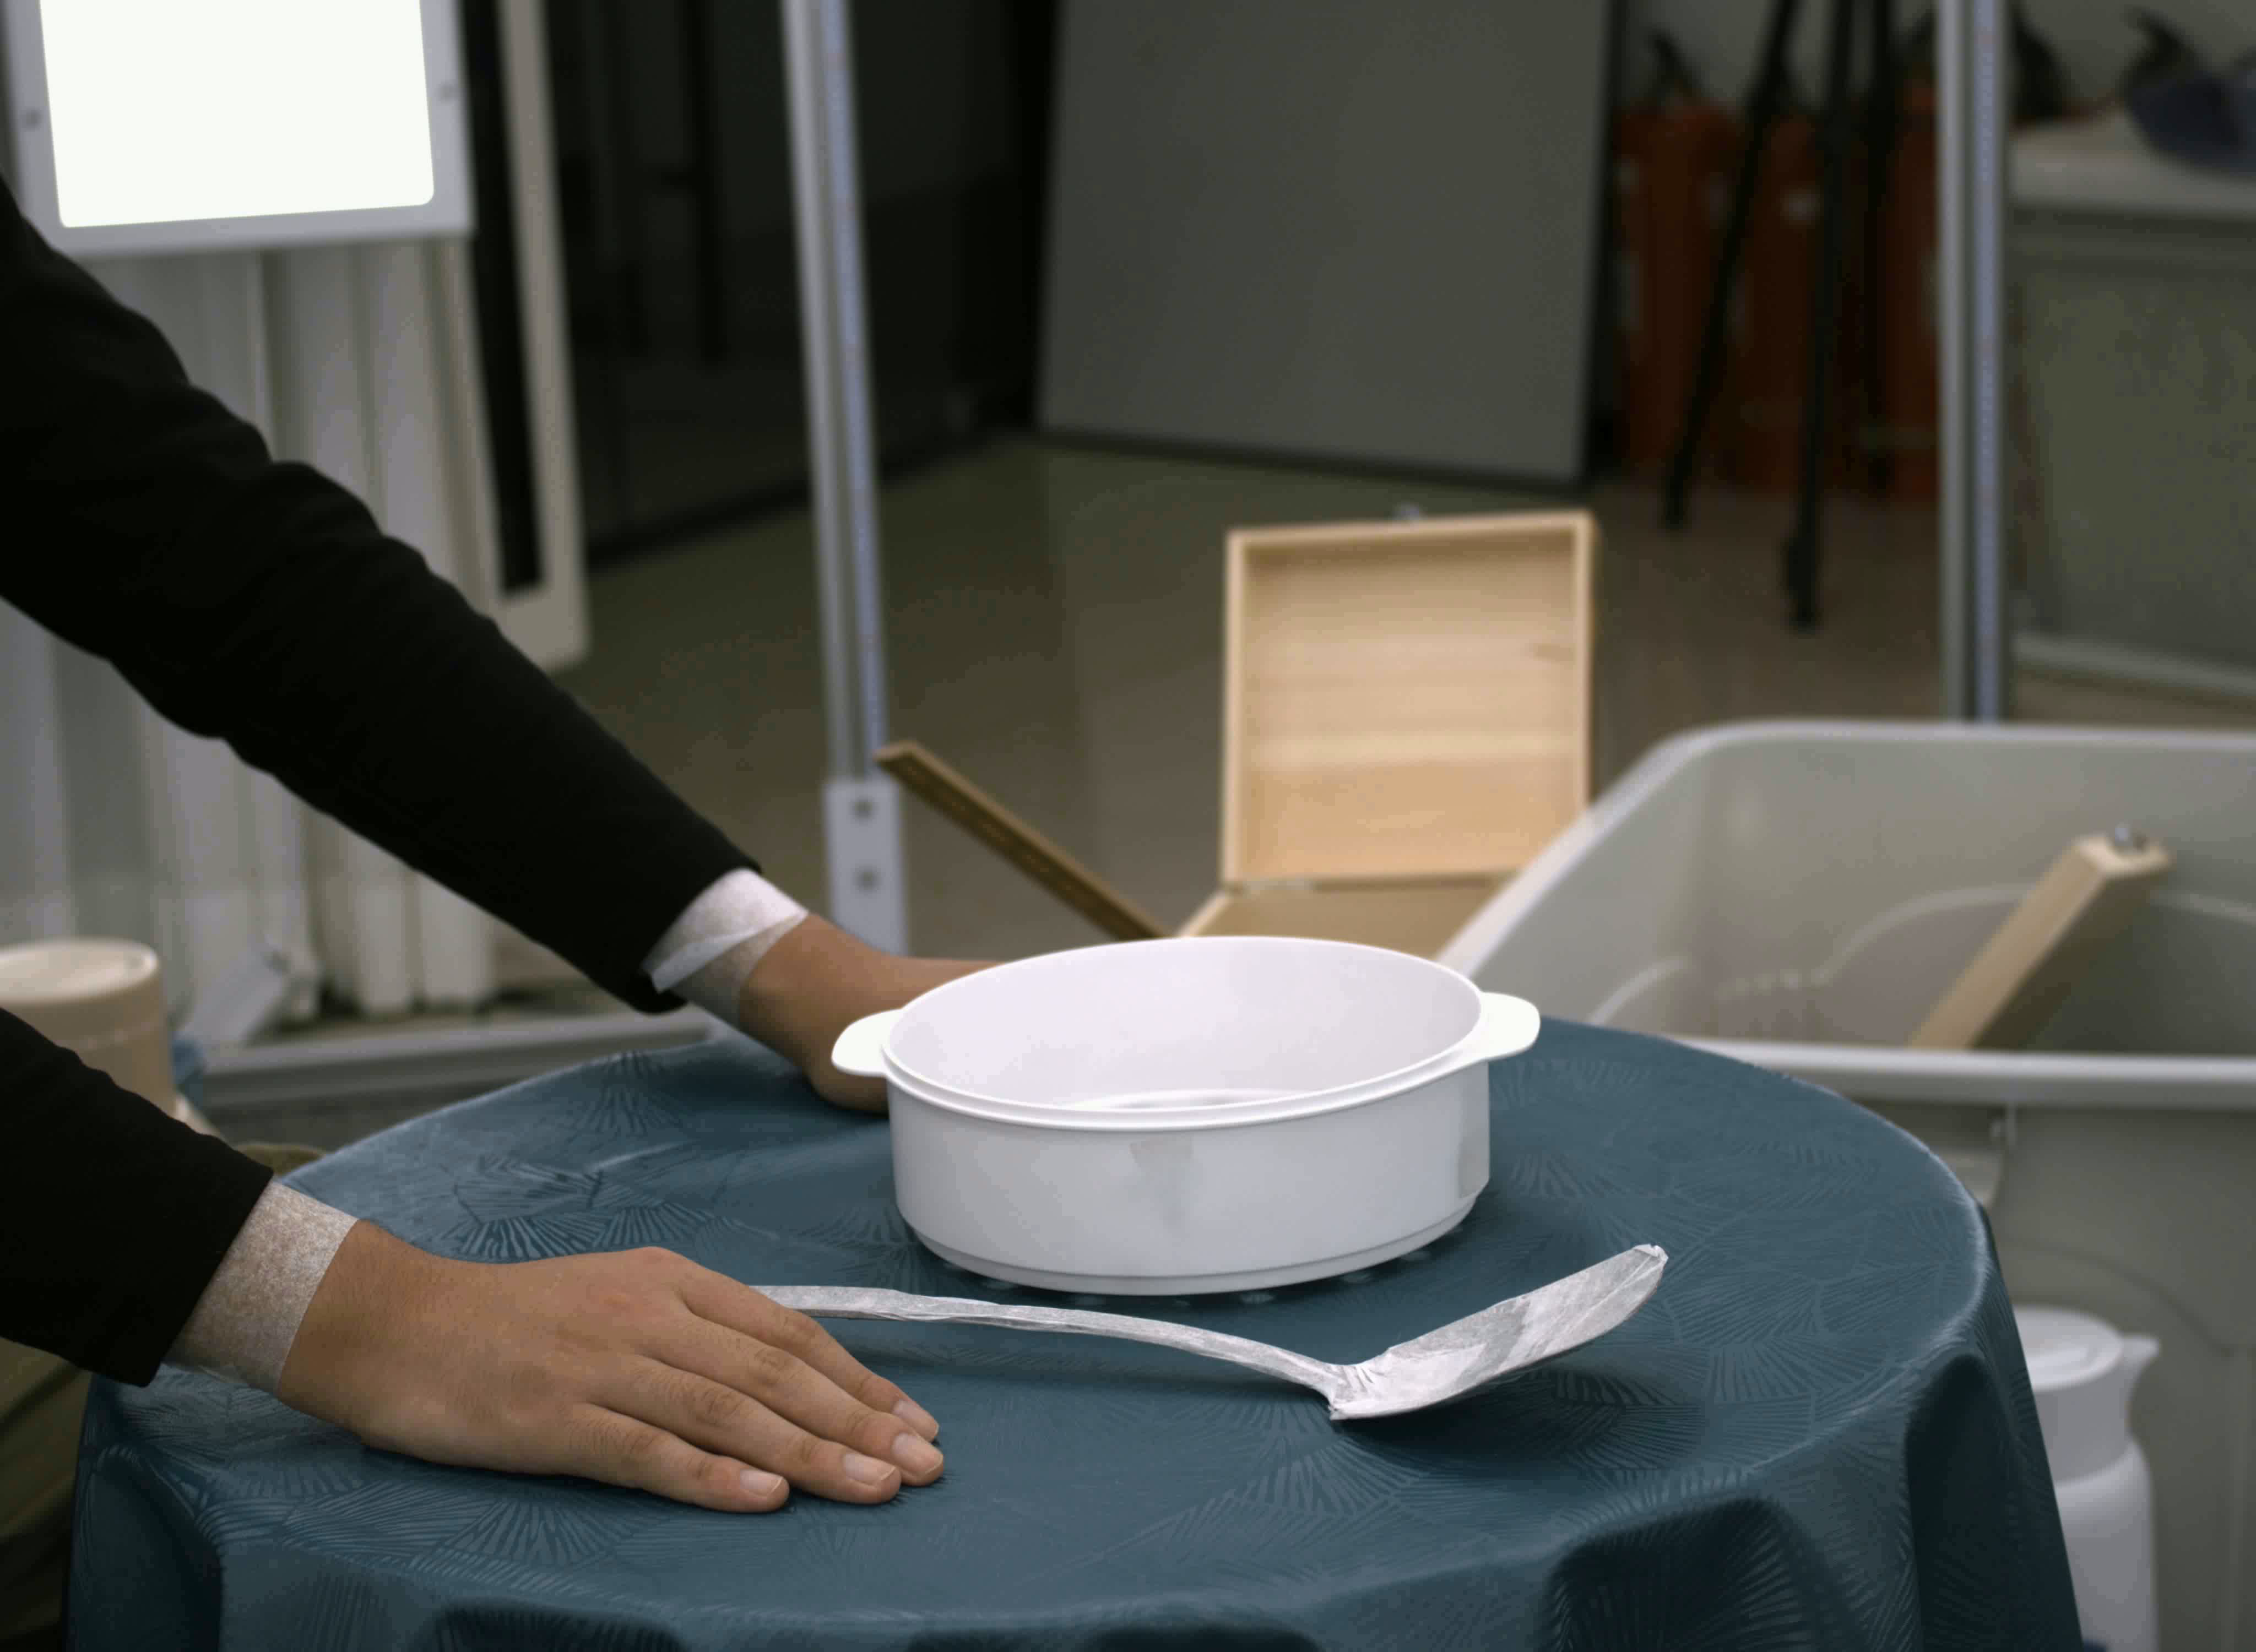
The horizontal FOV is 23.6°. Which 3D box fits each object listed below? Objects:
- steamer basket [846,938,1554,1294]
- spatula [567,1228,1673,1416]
[{"bbox_3d":[0.025,0.092,1.732,0.229,0.070,0.201,-3,13,9],"label":"steamer basket"},{"bbox_3d":[-0.015,0.143,1.603,0.365,0.045,0.097,2,17,24],"label":"spatula"}]
